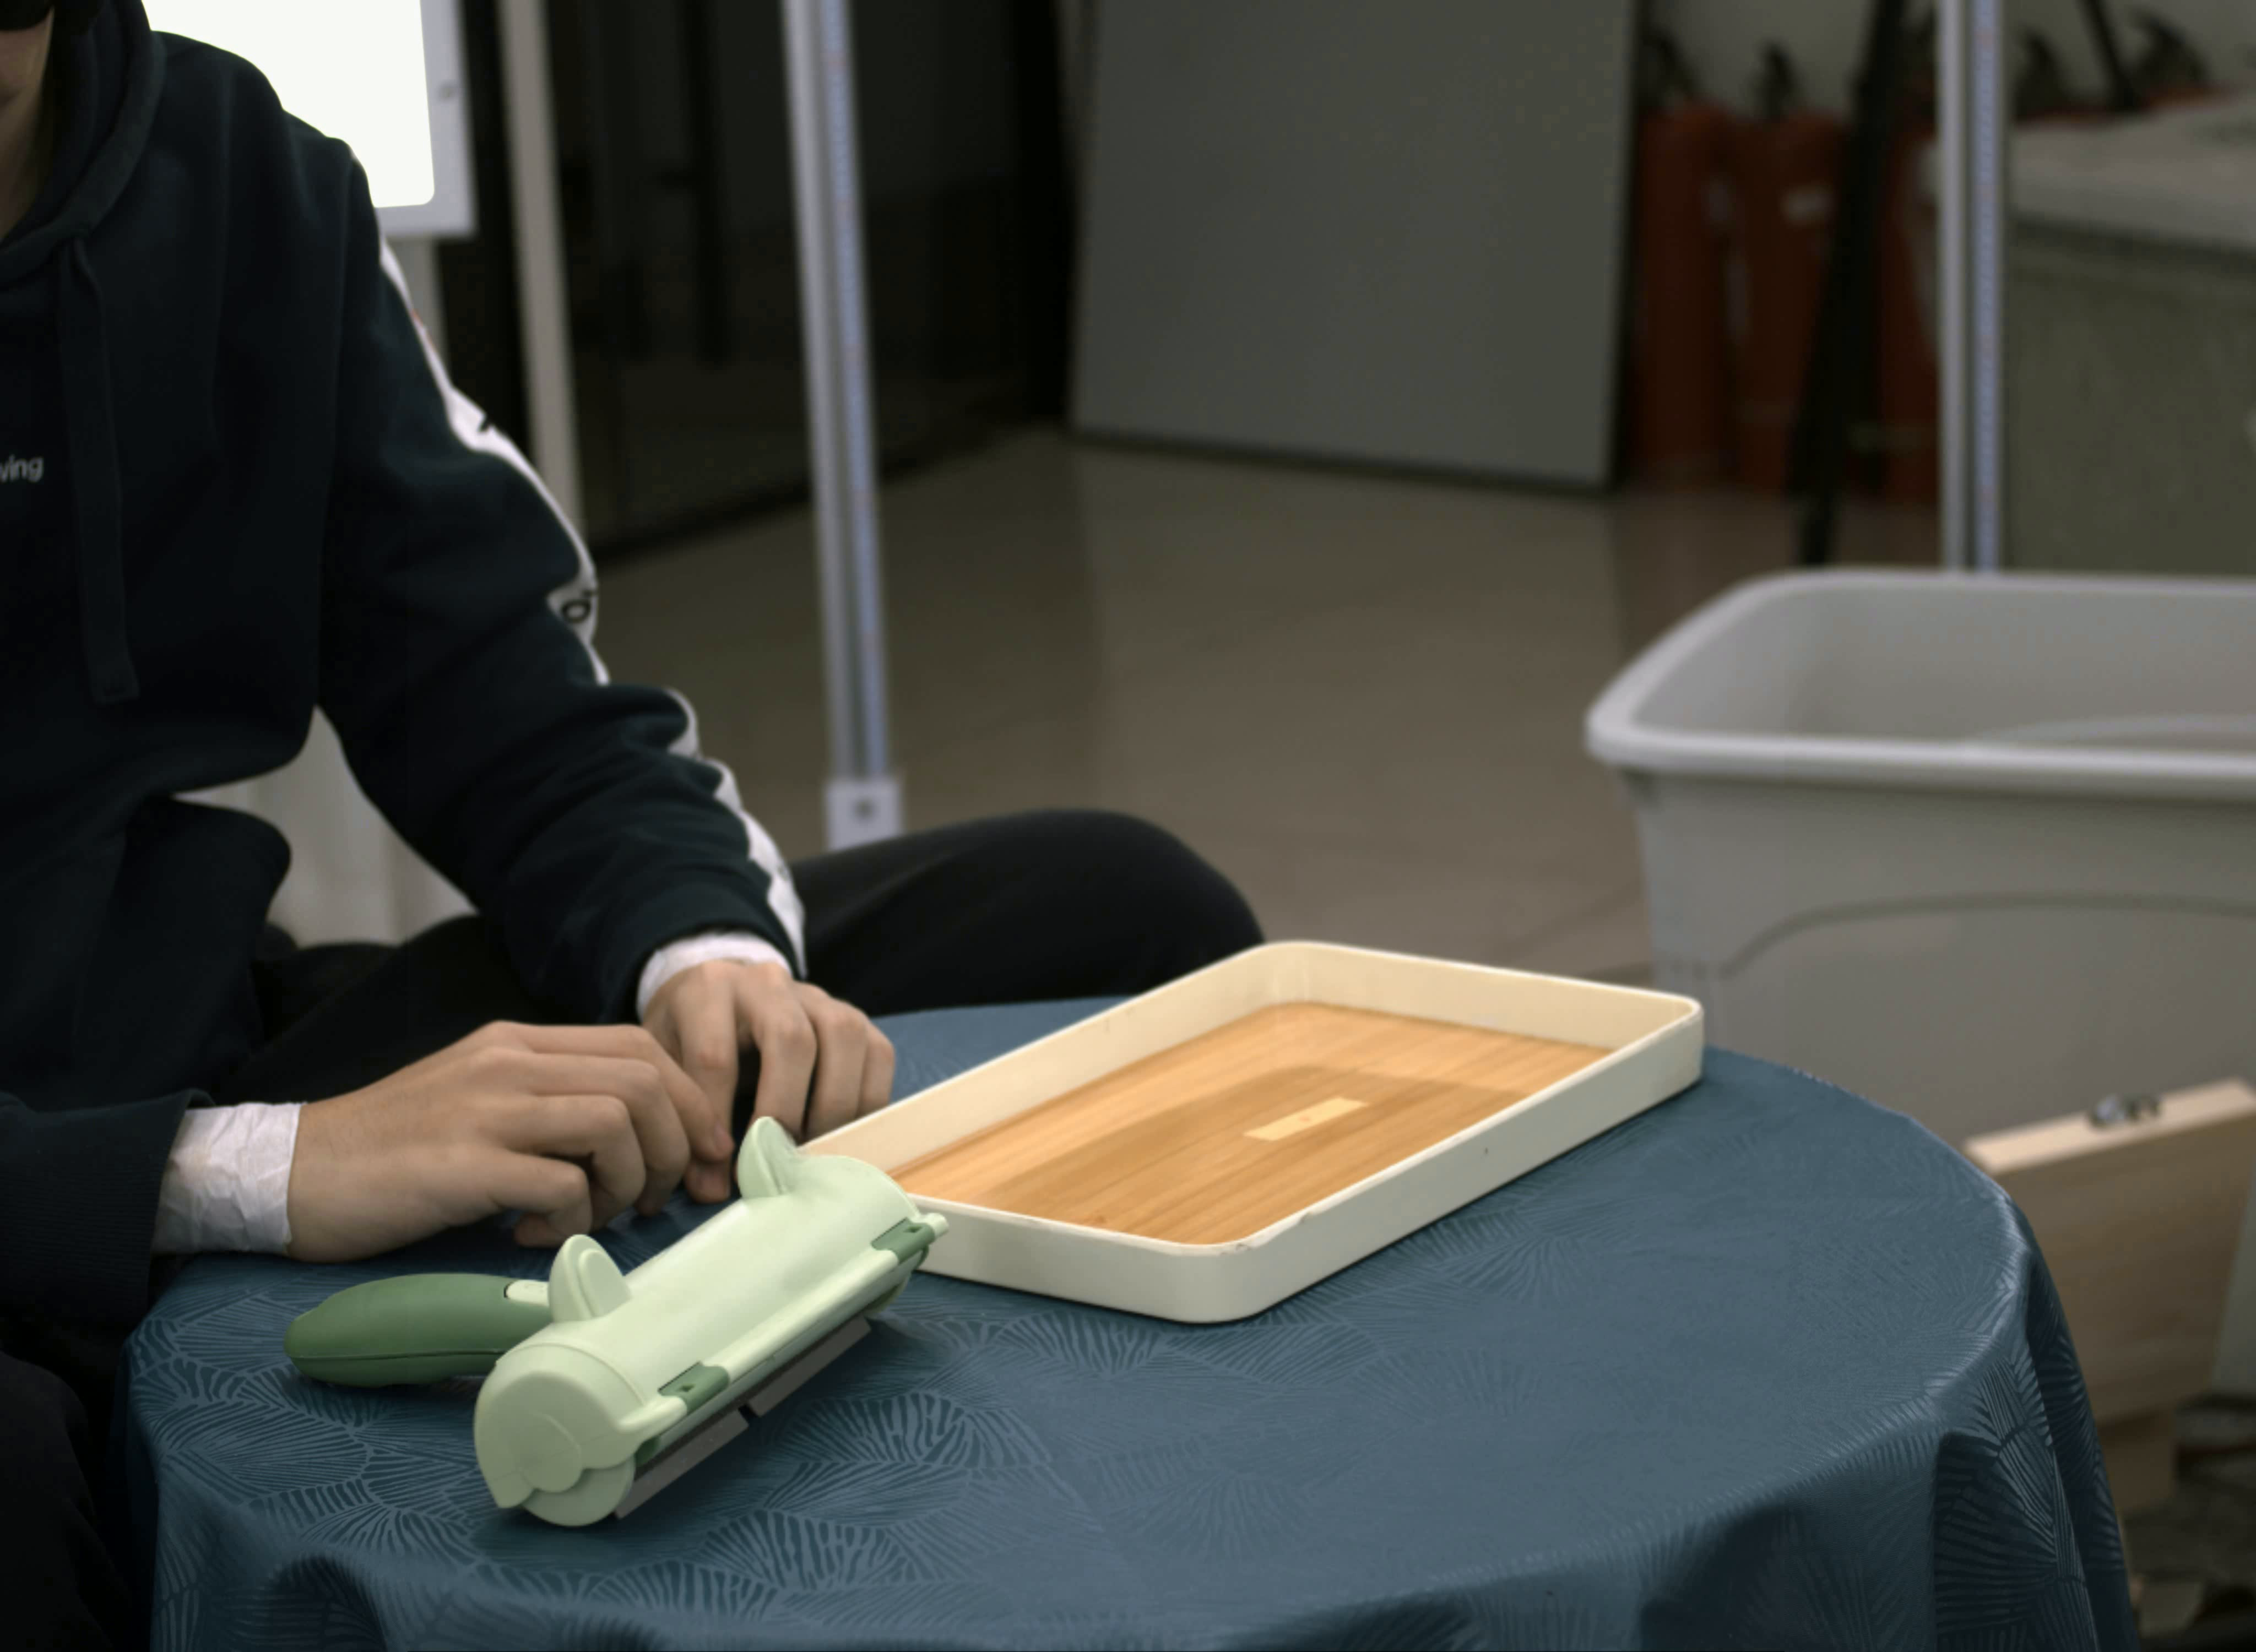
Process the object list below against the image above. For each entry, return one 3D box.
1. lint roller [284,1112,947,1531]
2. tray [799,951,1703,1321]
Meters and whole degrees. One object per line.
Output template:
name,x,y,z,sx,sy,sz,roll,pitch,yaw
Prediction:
lint roller,-0.173,0.135,1.604,0.183,0.083,0.196,7,17,24
tray,0.042,0.099,1.795,0.193,0.028,0.295,6,17,37
